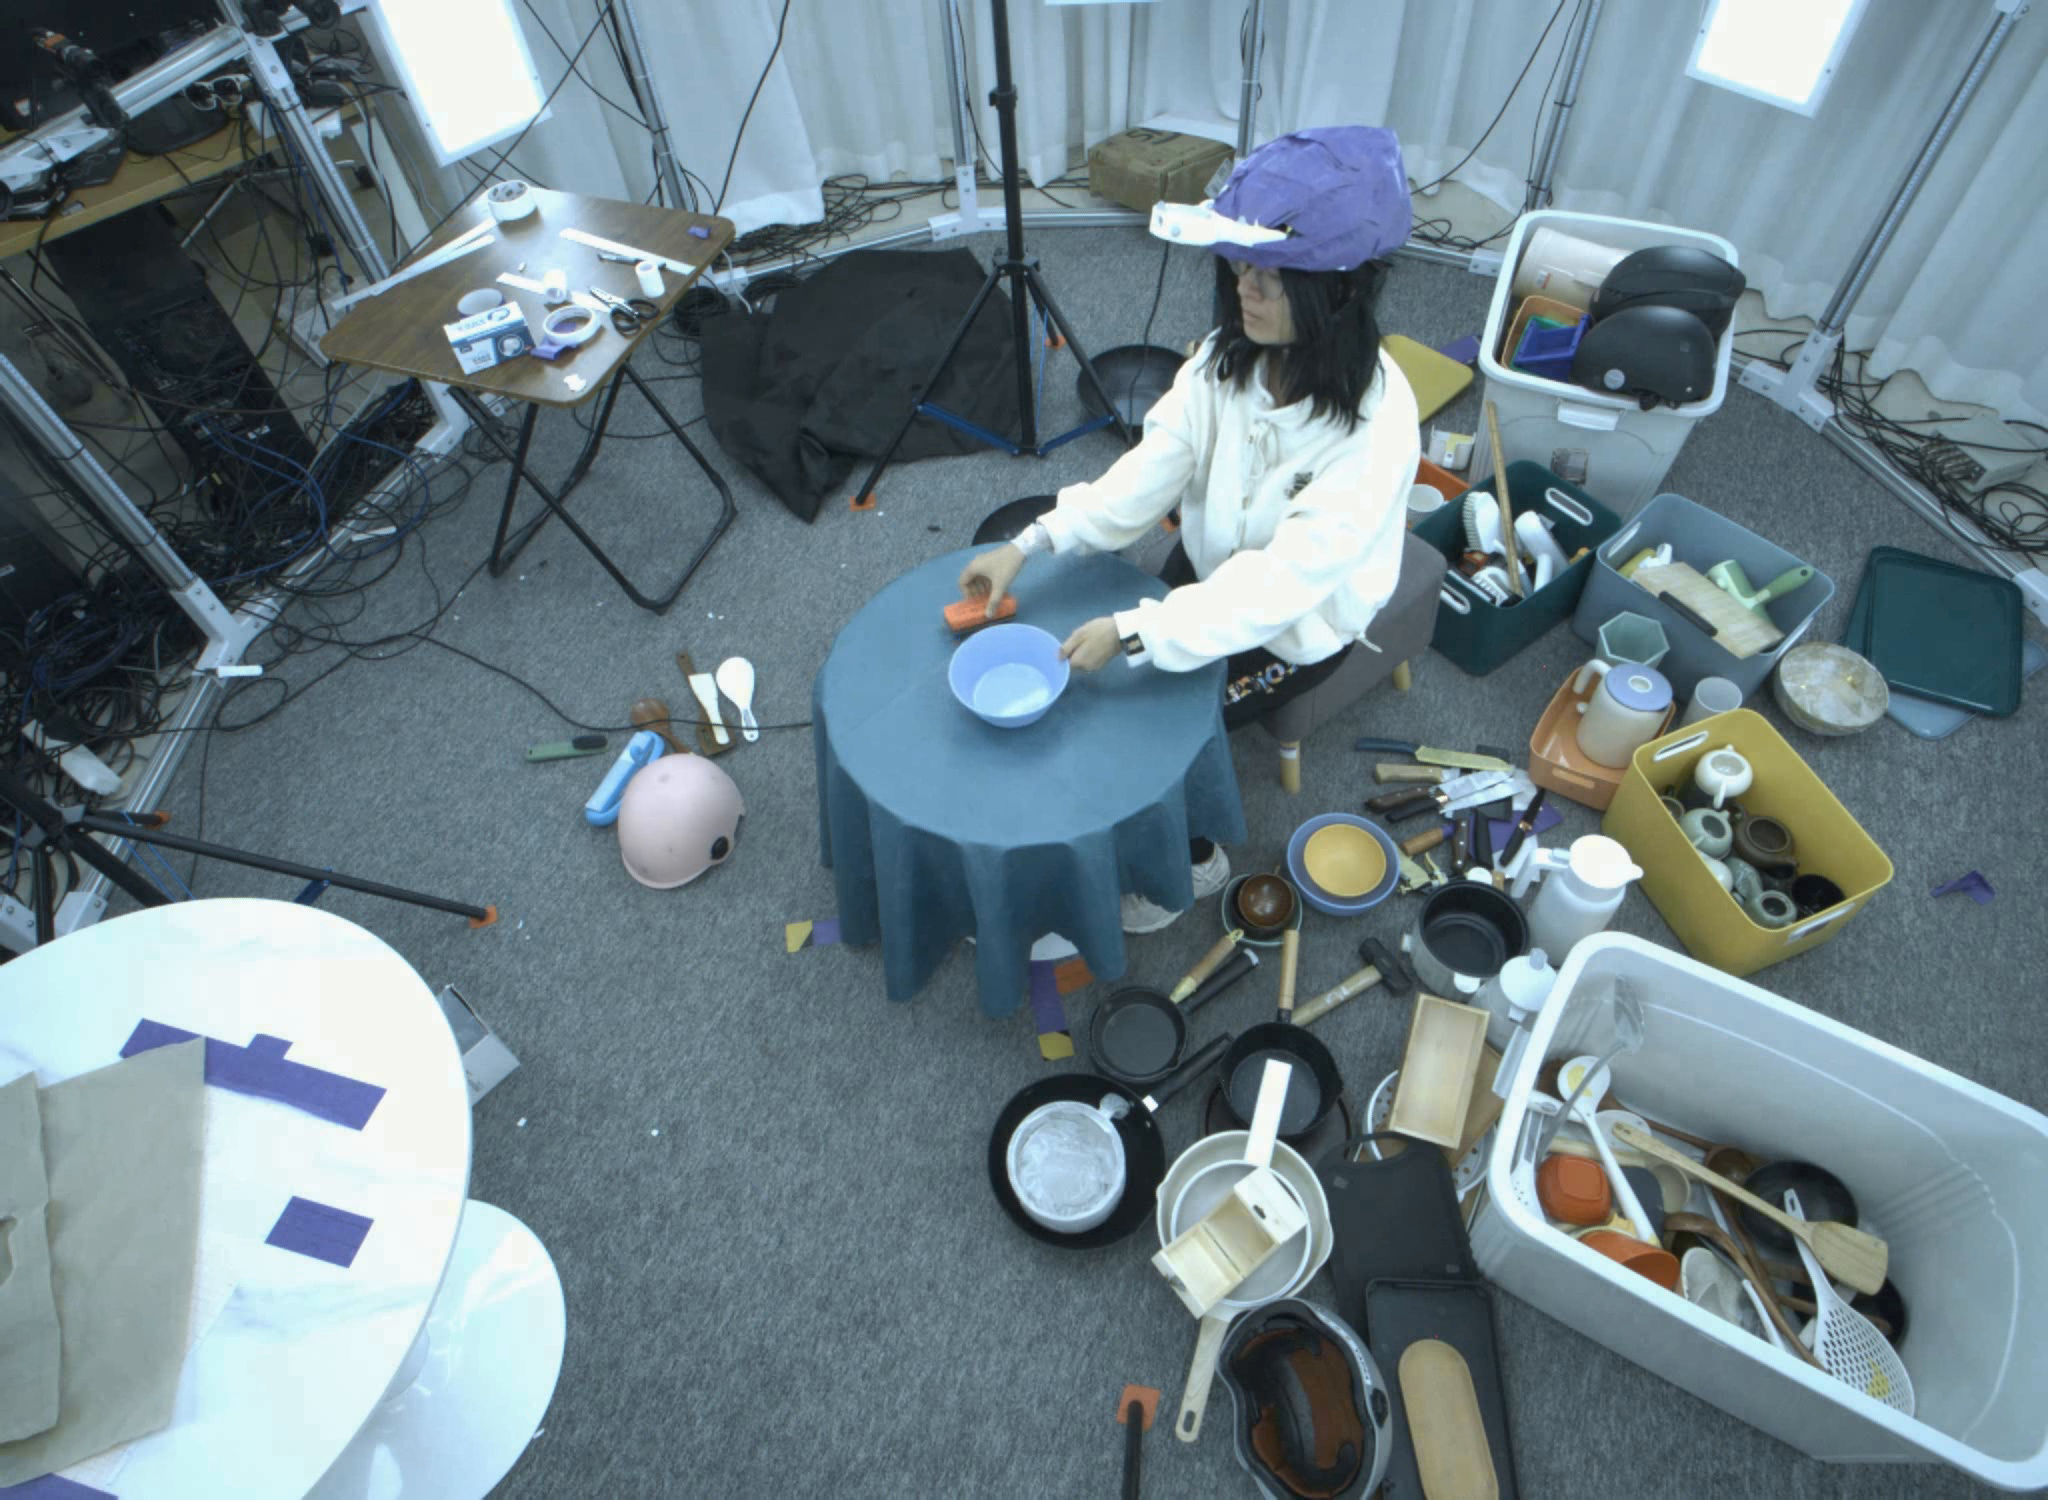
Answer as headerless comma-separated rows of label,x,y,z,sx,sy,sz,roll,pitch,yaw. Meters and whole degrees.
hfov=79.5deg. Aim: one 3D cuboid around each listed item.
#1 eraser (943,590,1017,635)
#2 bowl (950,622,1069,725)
eraser,-0.069,-0.215,1.914,0.109,0.023,0.058,-19,38,-13
bowl,-0.019,-0.102,1.815,0.176,0.071,0.174,-1,56,3
